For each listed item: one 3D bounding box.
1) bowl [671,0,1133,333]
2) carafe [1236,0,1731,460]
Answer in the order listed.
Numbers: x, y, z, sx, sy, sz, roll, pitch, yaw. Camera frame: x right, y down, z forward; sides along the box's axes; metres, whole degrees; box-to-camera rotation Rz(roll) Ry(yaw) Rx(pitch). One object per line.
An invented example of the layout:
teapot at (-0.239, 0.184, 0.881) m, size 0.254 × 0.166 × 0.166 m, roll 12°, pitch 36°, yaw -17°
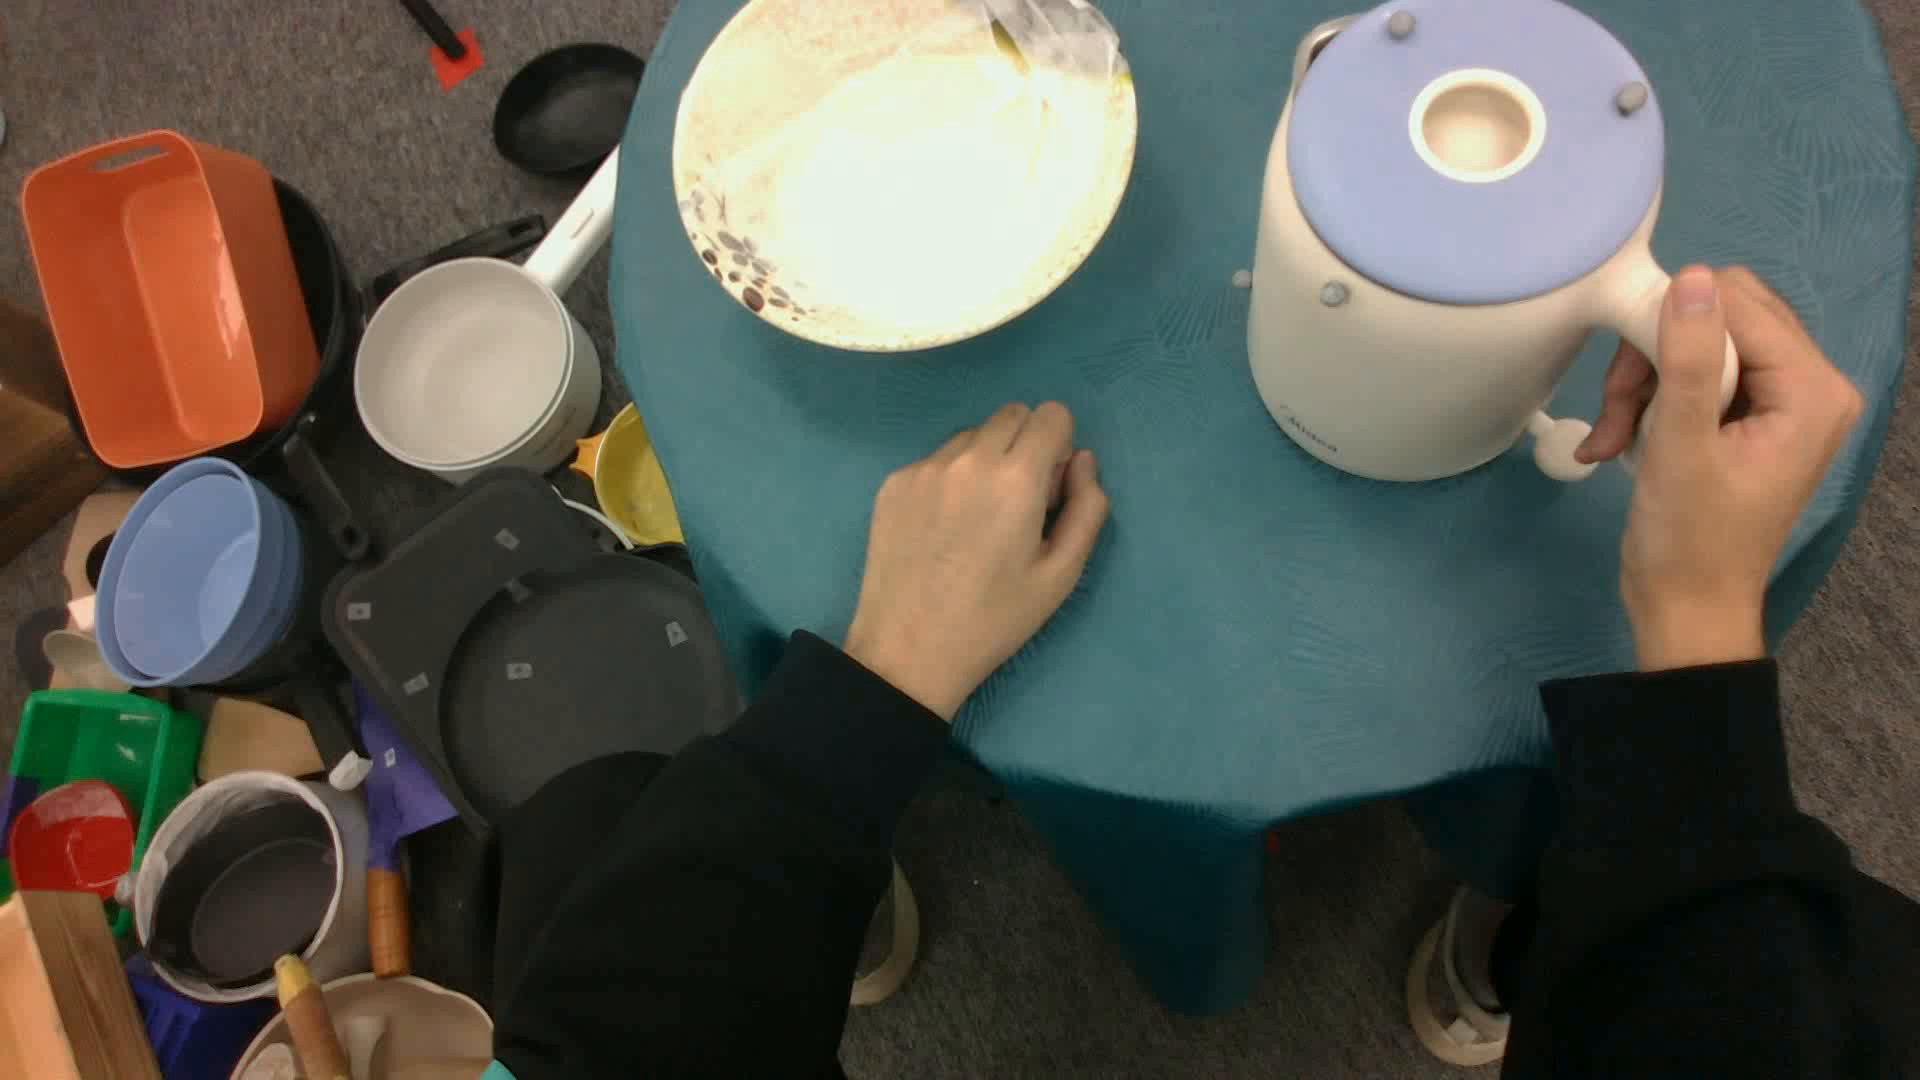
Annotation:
bowl at (-0.022, -0.178, 0.628) m, size 0.204 × 0.078 × 0.204 m, roll -2°, pitch 76°, yaw 8°
carafe at (0.196, -0.100, 0.527) m, size 0.191 × 0.182 × 0.132 m, roll 41°, pitch 84°, yaw 14°
